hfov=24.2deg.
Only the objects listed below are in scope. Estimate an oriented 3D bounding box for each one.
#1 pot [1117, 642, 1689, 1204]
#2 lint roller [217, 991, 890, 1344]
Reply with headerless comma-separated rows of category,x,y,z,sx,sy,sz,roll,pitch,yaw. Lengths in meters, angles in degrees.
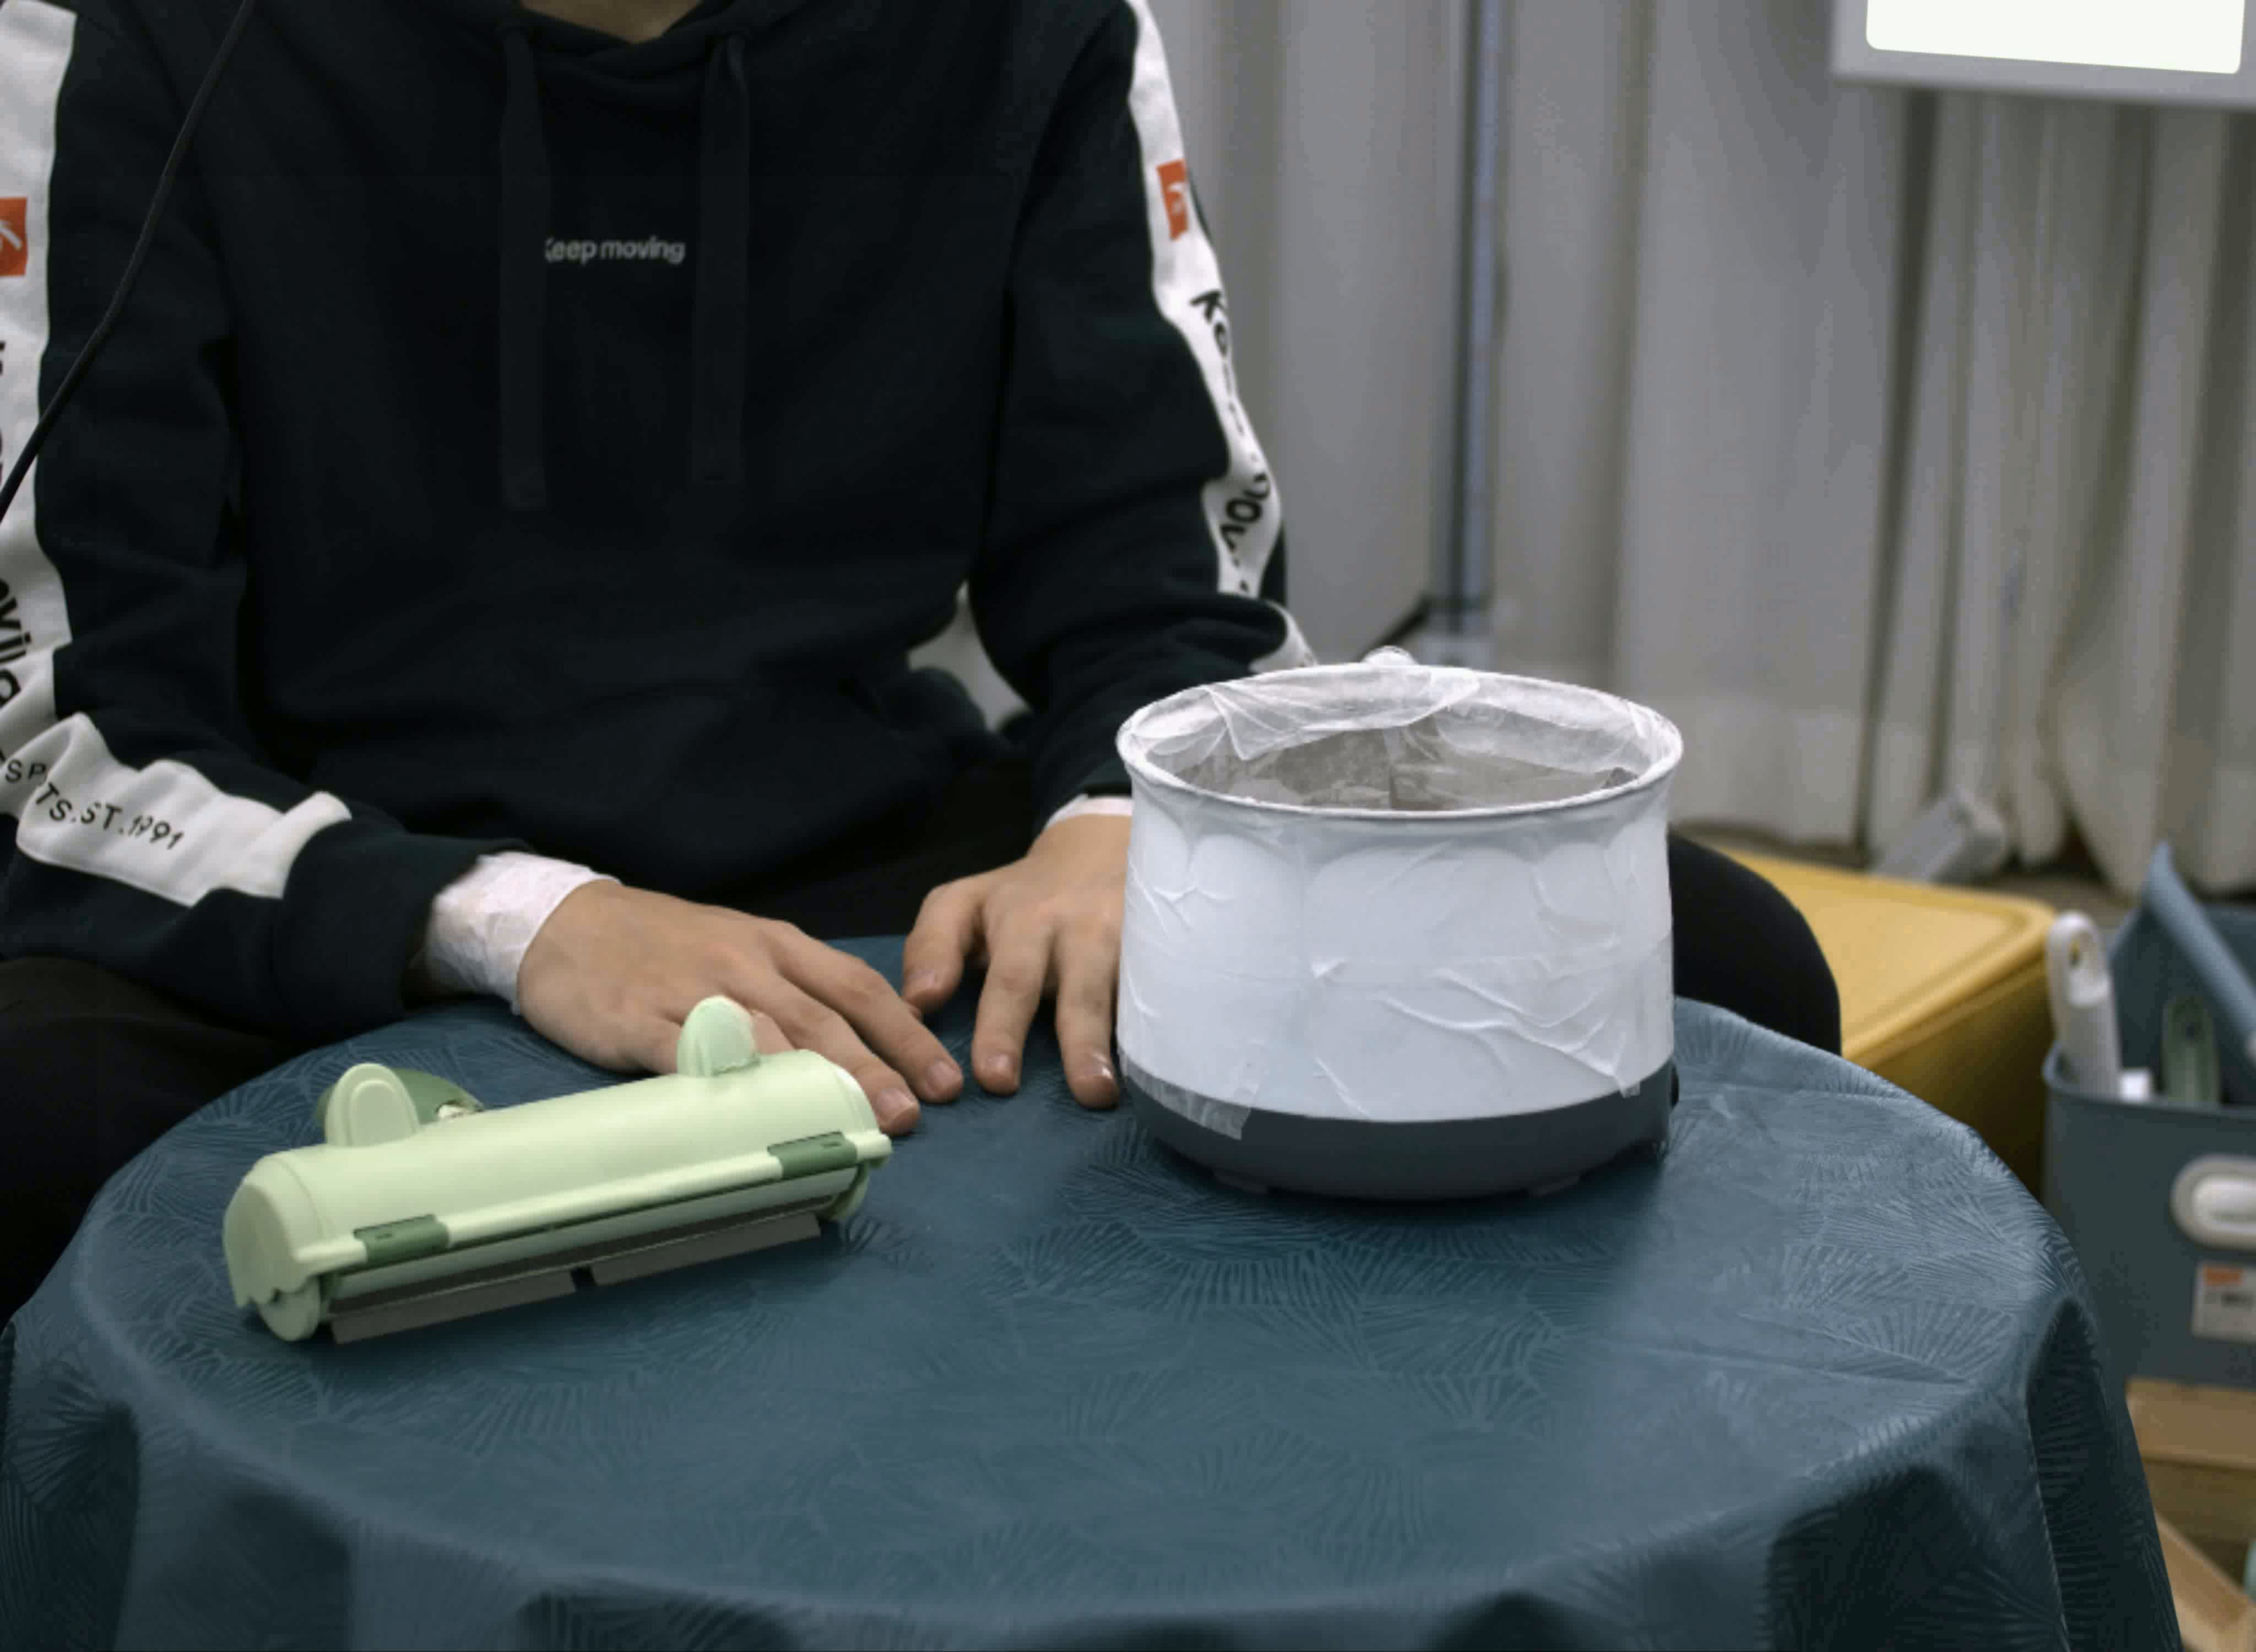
pot,0.085,0.026,1.675,0.178,0.138,0.232,1,17,0
lint roller,-0.197,0.083,1.577,0.199,0.083,0.181,-11,24,-33
